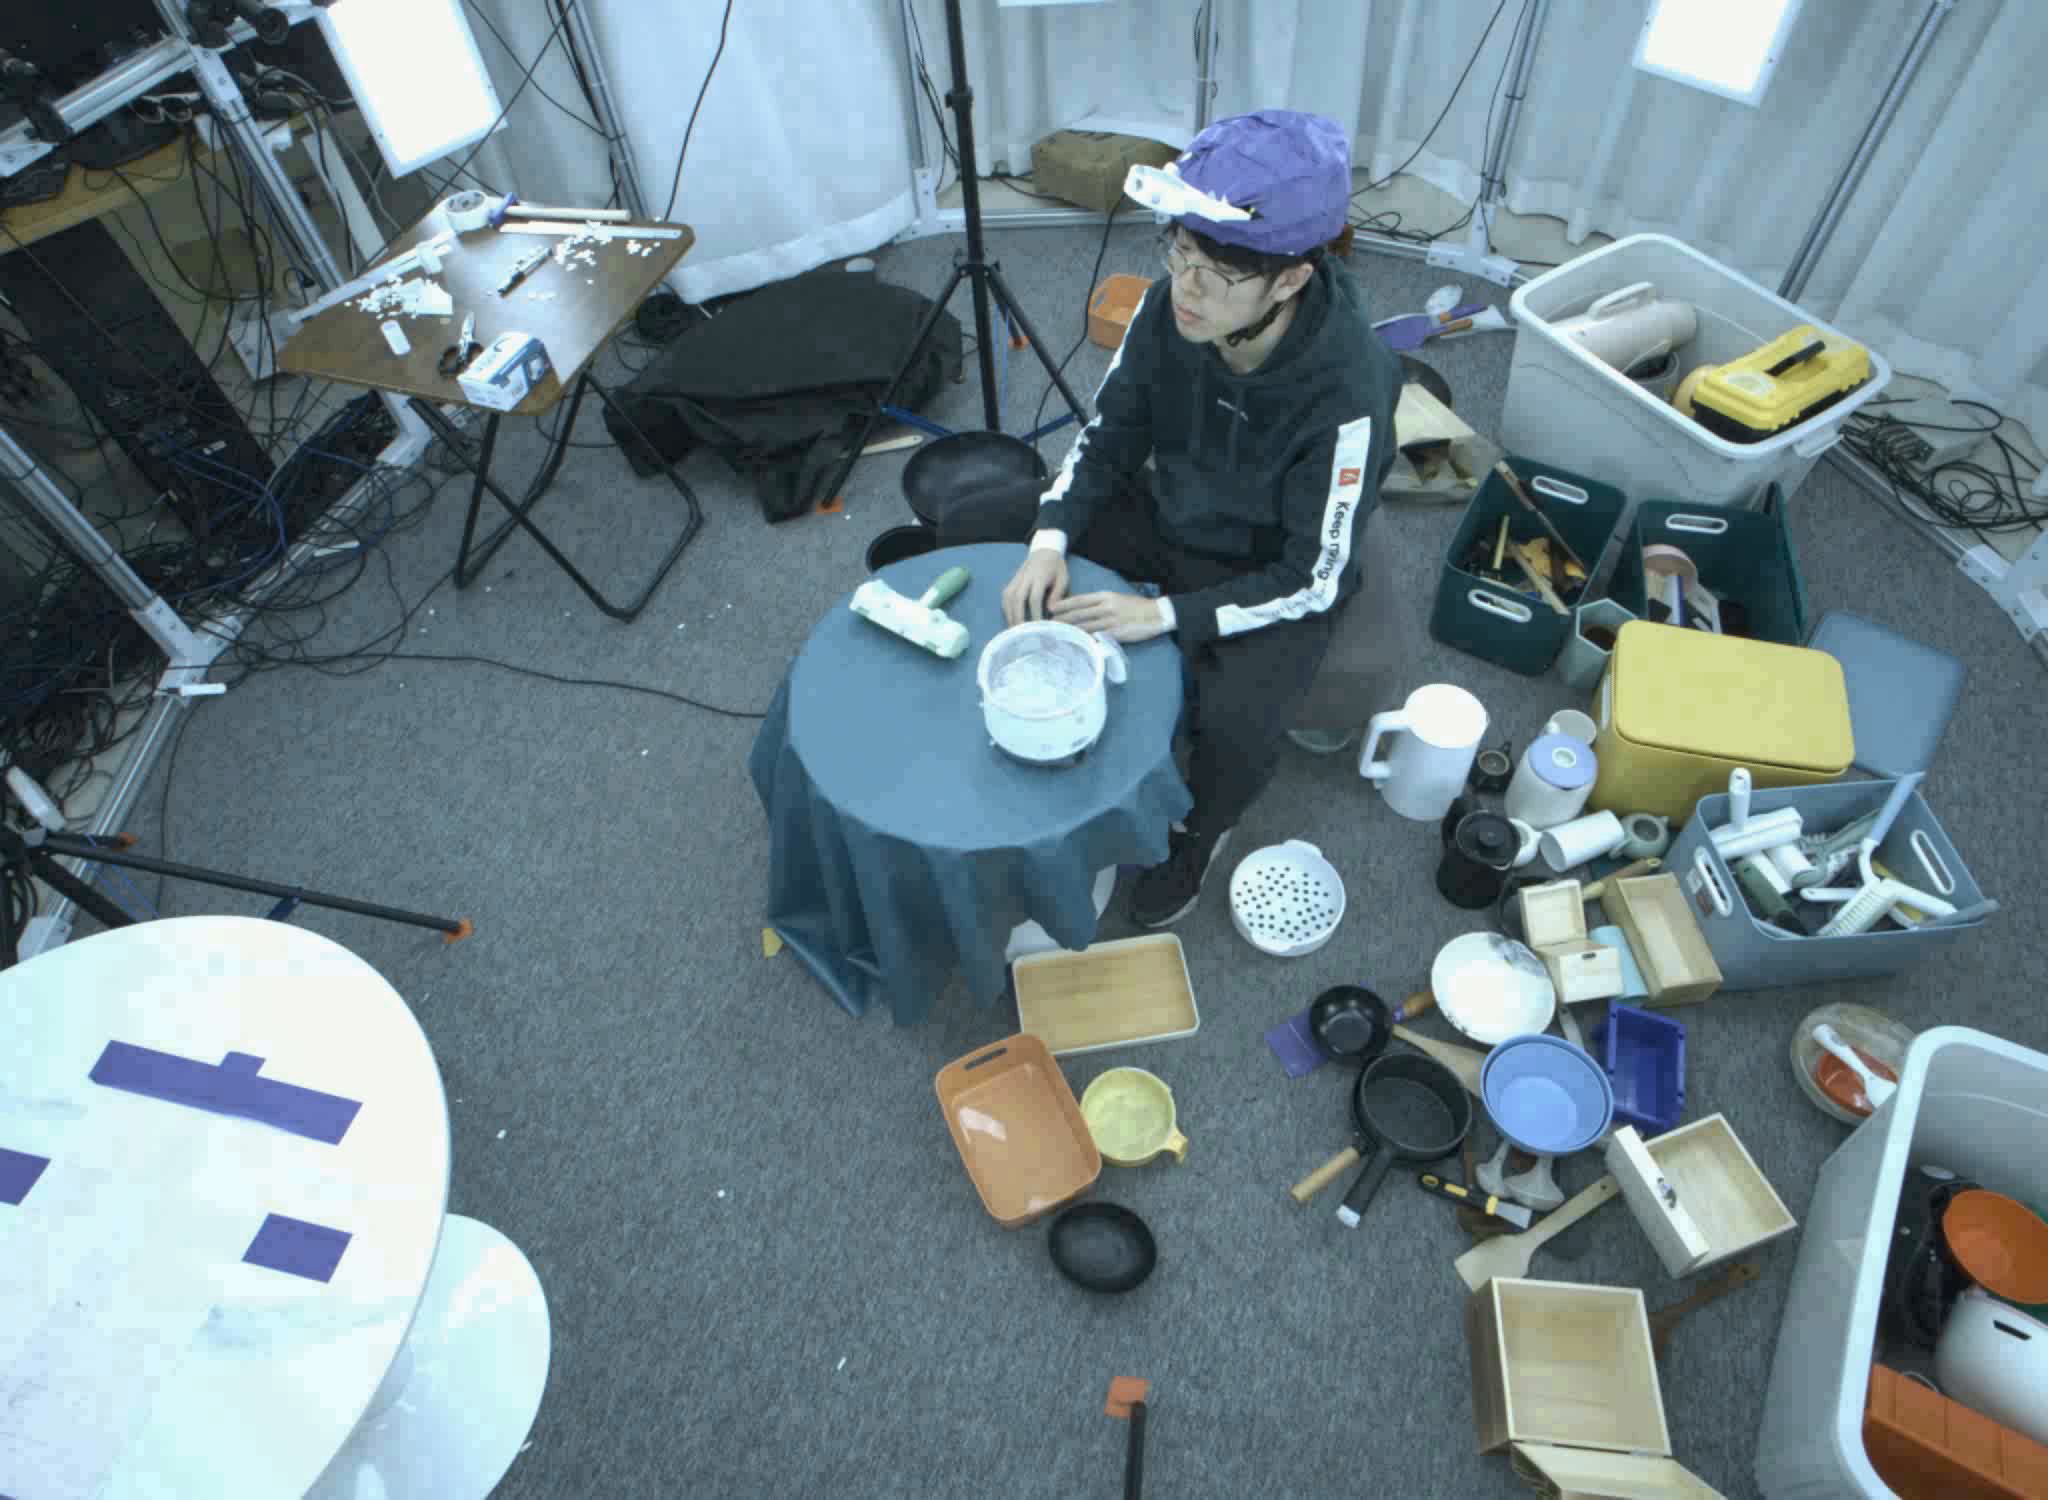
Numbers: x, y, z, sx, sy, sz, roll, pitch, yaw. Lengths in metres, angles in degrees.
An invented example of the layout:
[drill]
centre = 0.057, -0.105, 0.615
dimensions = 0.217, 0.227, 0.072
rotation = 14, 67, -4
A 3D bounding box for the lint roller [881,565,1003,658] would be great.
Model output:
[lint roller]
centre = -0.097, -0.246, 1.914
dimensions = 0.195, 0.083, 0.184
rotation = 30, 66, 22

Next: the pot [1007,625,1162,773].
[pot]
centre = 0.093, -0.082, 1.752
dimensions = 0.235, 0.138, 0.175
rotation = -30, 59, -16
